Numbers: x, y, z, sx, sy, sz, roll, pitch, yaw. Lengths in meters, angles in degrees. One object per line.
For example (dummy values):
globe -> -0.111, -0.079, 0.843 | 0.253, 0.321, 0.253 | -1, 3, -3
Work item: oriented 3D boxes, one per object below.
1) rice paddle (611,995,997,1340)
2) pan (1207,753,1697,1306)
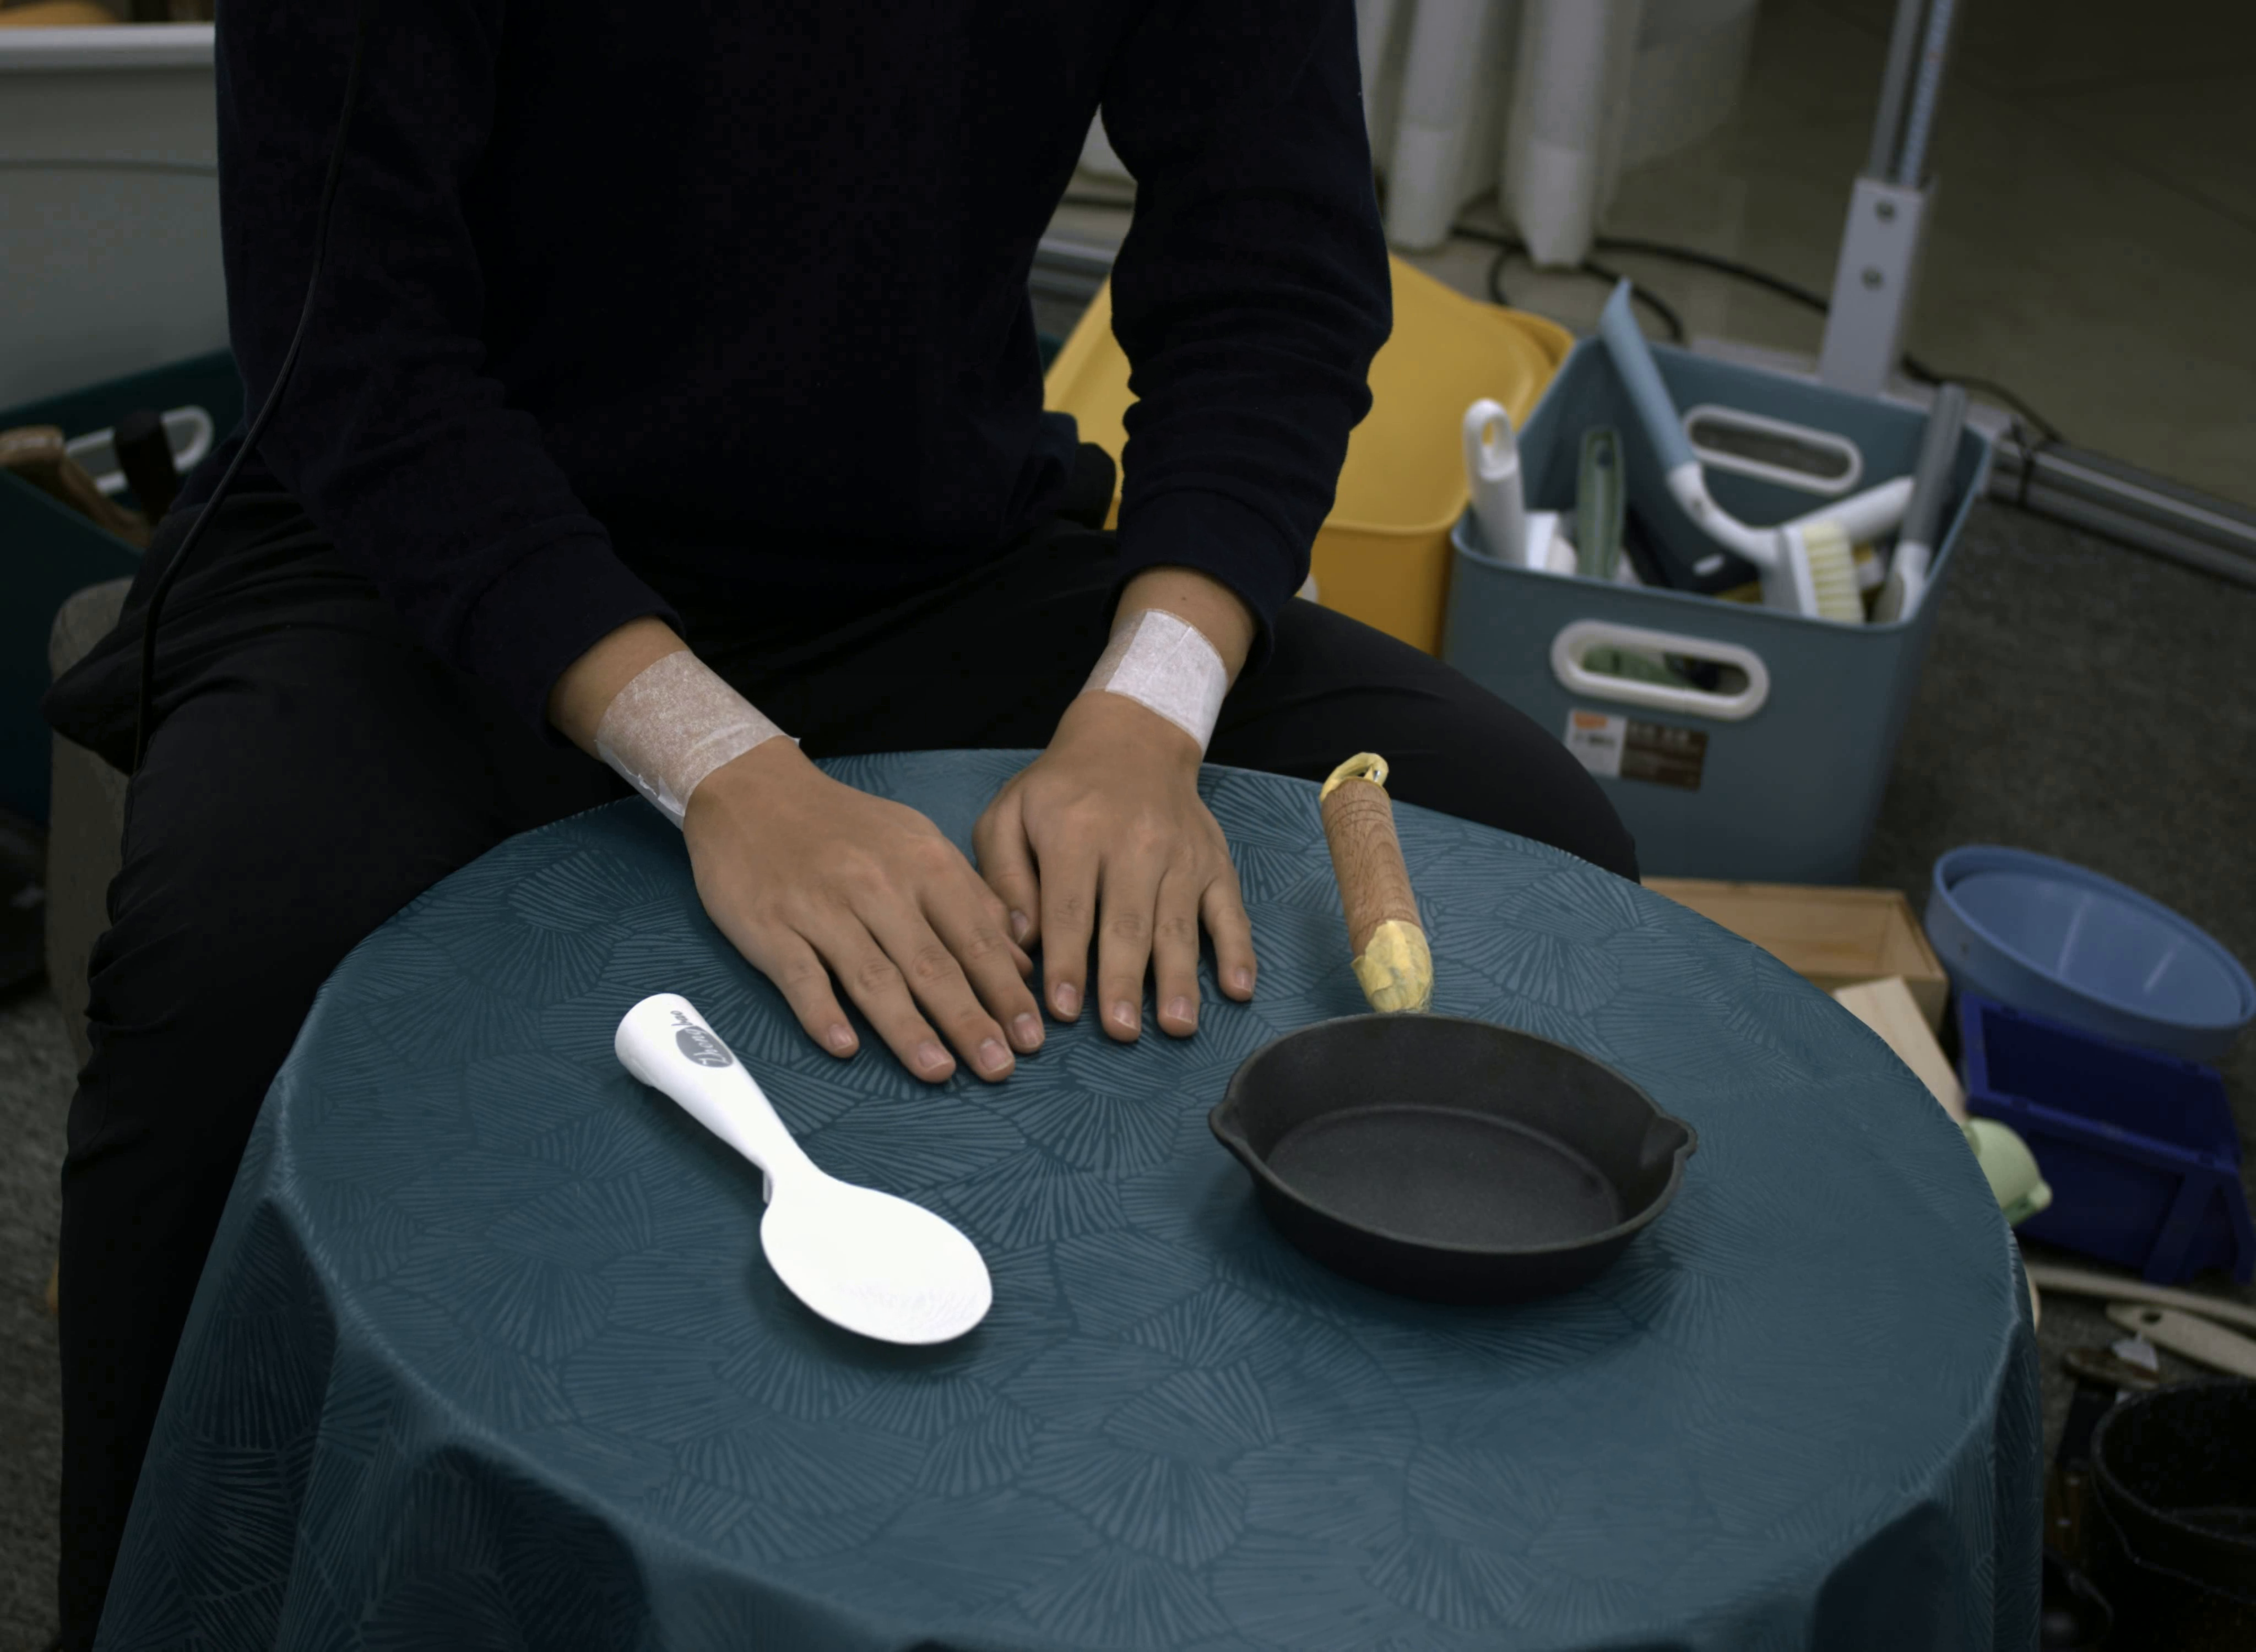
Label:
rice paddle -> -0.111, 0.115, 1.763 | 0.068, 0.029, 0.207 | -13, 32, -30
pan -> 0.102, 0.069, 1.877 | 0.168, 0.049, 0.326 | 3, 29, -7
